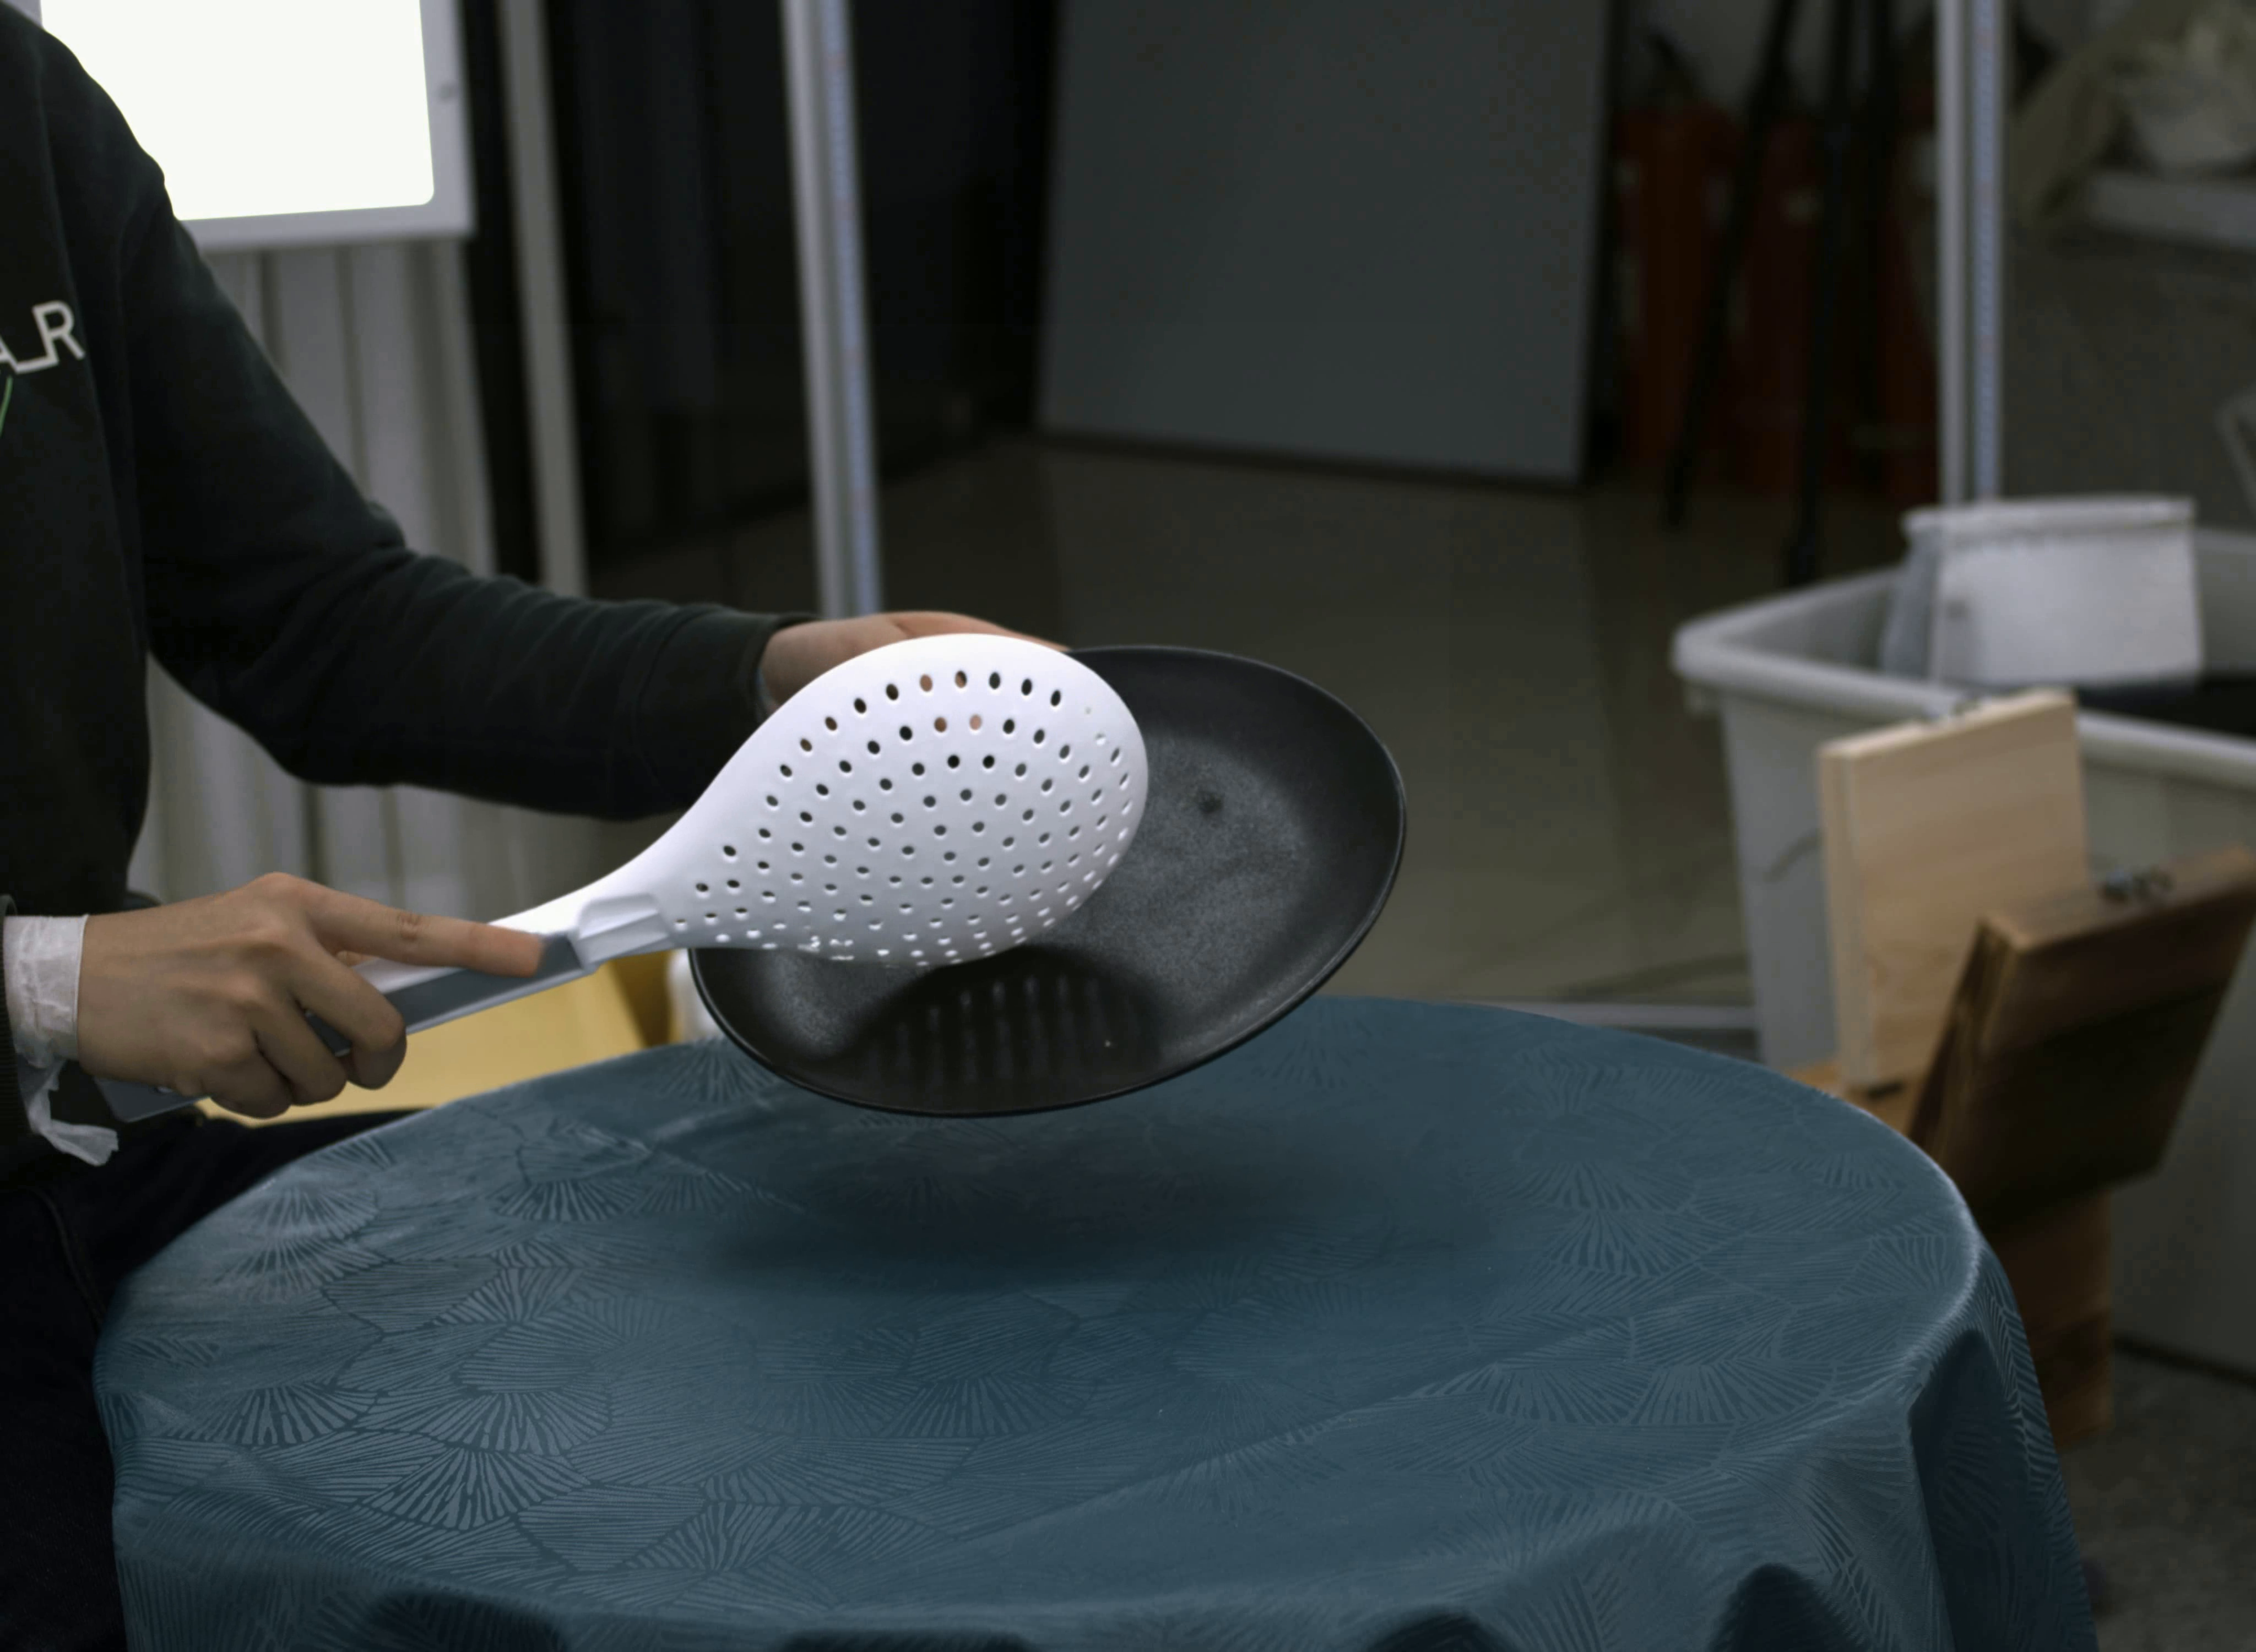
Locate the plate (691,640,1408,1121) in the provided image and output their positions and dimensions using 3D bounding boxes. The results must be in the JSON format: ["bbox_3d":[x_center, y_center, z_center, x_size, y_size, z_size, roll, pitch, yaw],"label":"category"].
[{"bbox_3d":[-0.025,0.021,1.772,0.242,0.023,0.246,-11,37,7],"label":"plate"}]

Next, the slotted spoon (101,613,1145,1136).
[{"bbox_3d":[-0.159,0.029,1.715,0.347,0.136,0.046,-16,38,6],"label":"slotted spoon"}]
